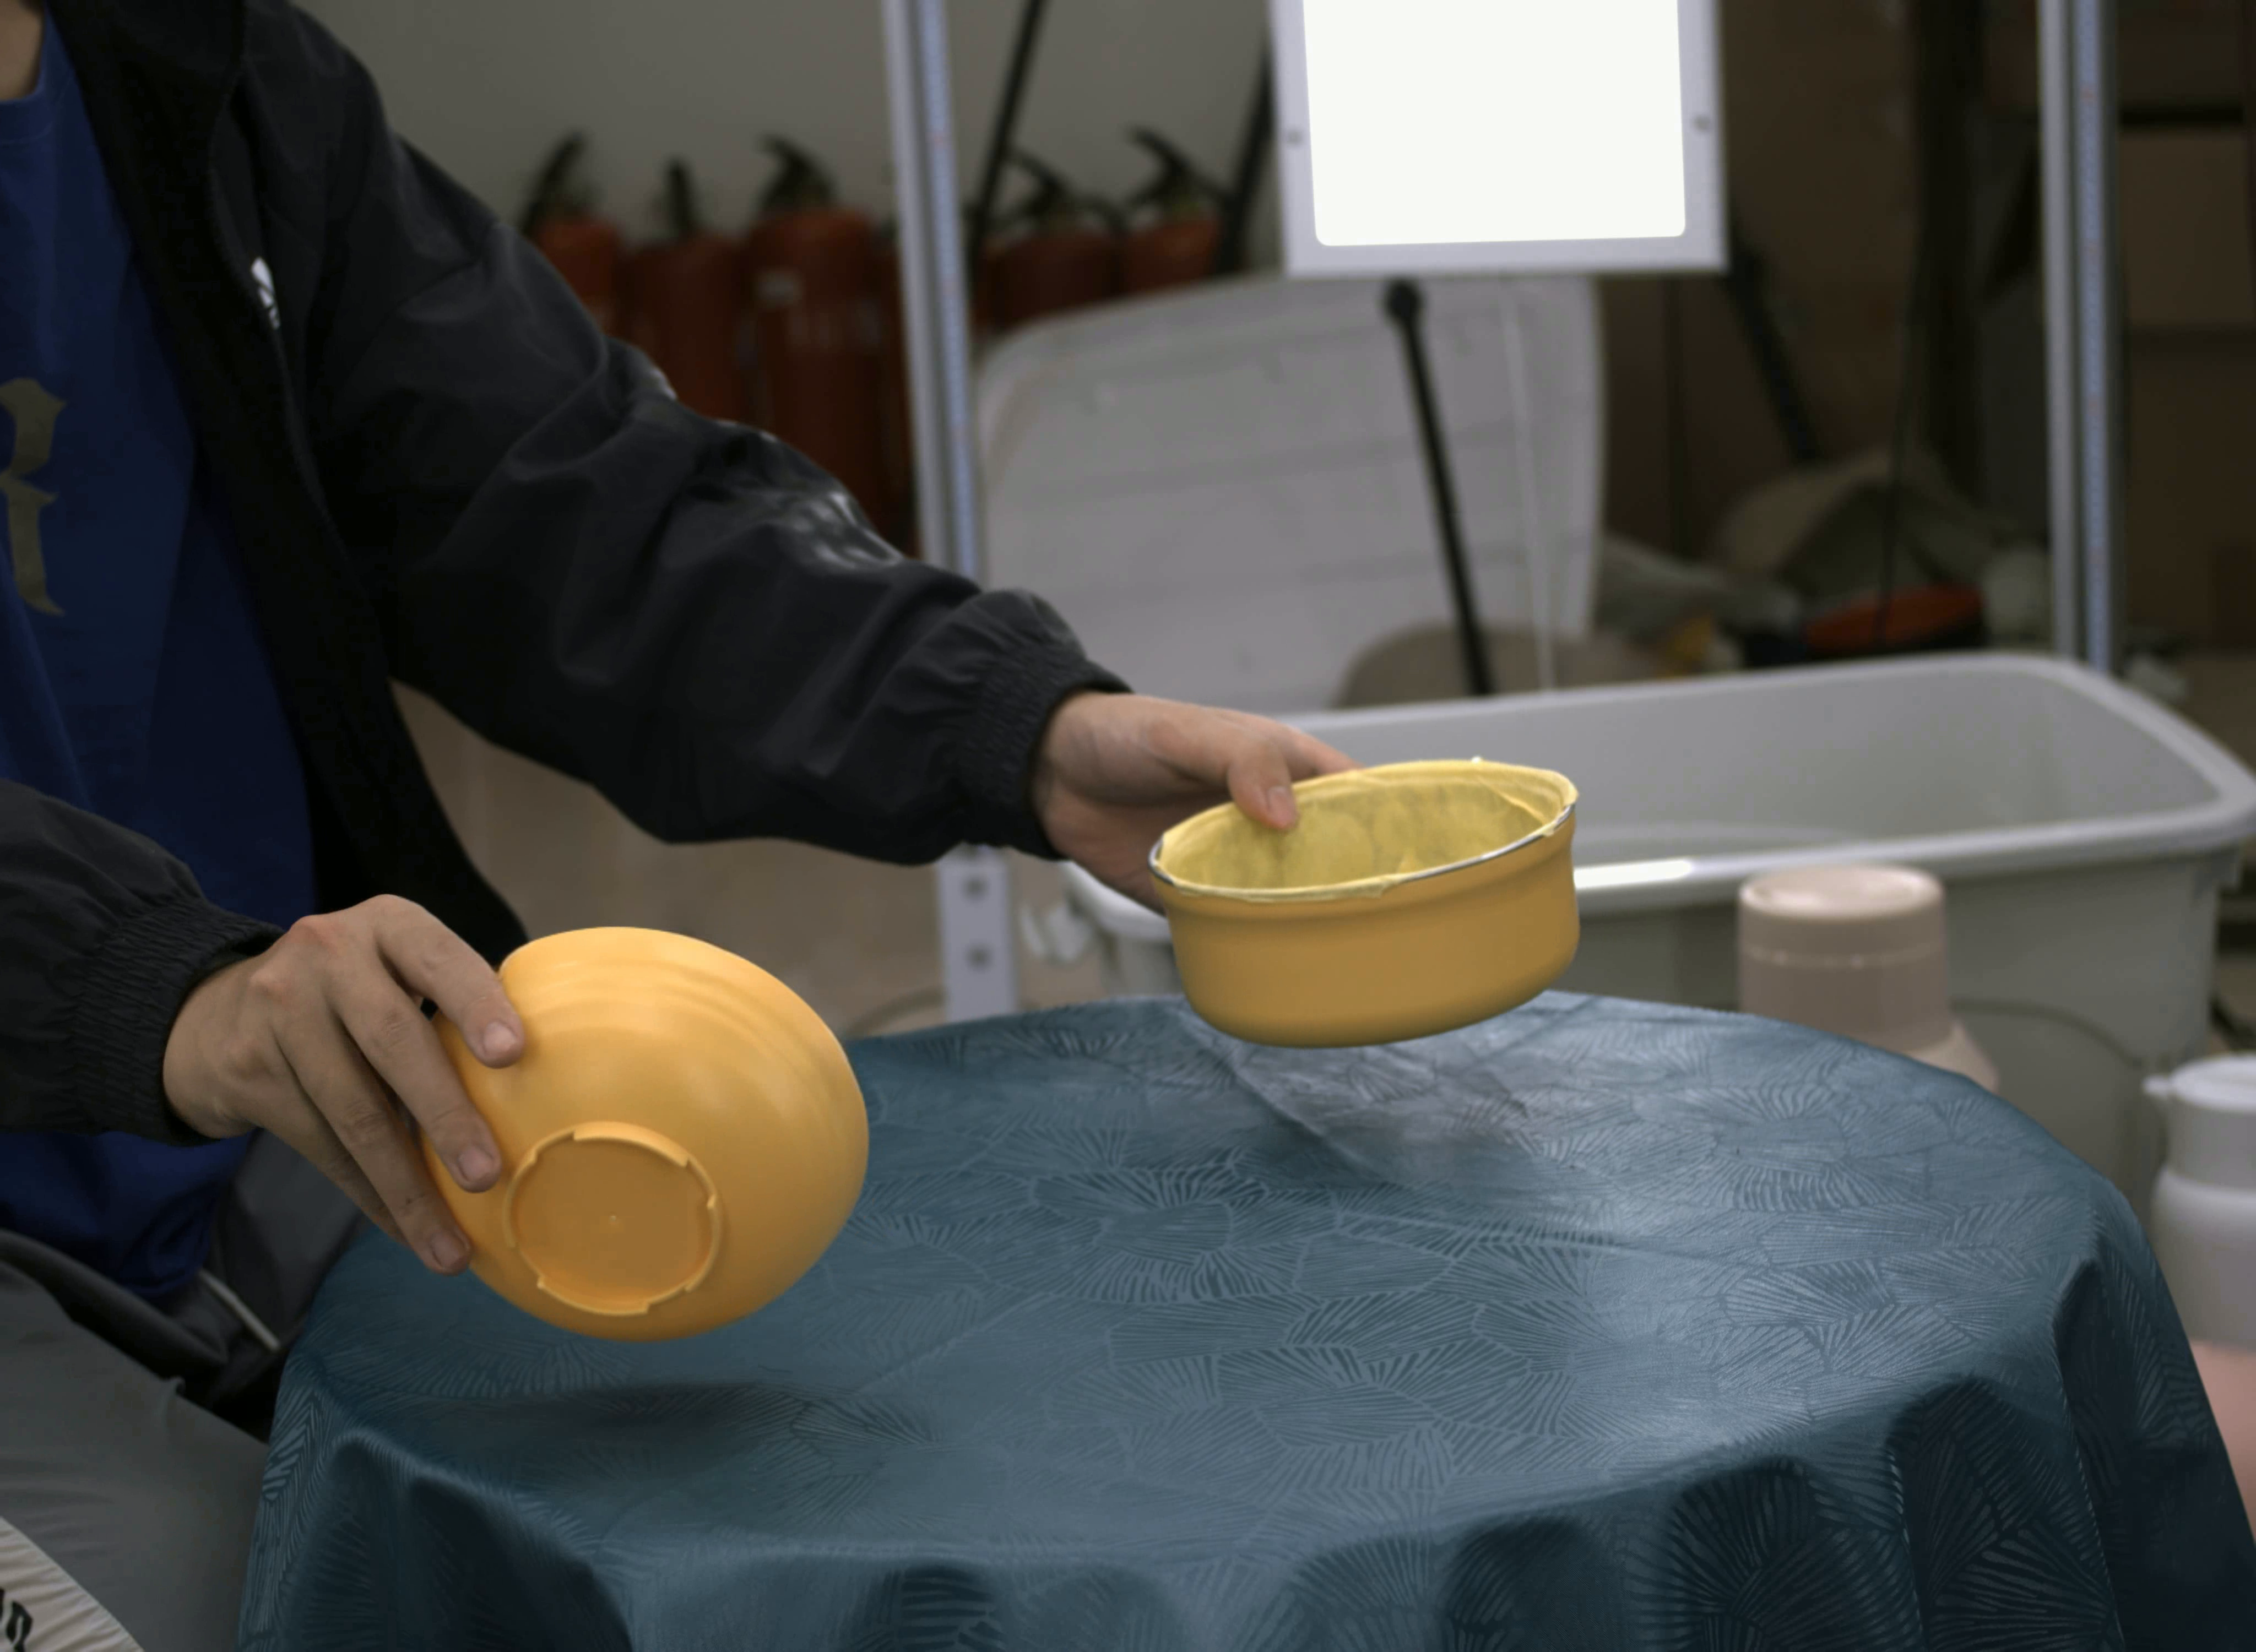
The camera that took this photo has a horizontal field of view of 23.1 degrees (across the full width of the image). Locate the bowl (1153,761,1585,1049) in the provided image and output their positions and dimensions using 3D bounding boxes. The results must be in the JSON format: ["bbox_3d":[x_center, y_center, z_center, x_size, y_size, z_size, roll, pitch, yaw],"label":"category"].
[{"bbox_3d":[0.094,0.026,1.951,0.155,0.074,0.176,-5,16,21],"label":"bowl"}]

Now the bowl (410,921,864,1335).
[{"bbox_3d":[-0.156,0.105,1.692,0.146,0.146,0.059,-2,31,10],"label":"bowl"}]
